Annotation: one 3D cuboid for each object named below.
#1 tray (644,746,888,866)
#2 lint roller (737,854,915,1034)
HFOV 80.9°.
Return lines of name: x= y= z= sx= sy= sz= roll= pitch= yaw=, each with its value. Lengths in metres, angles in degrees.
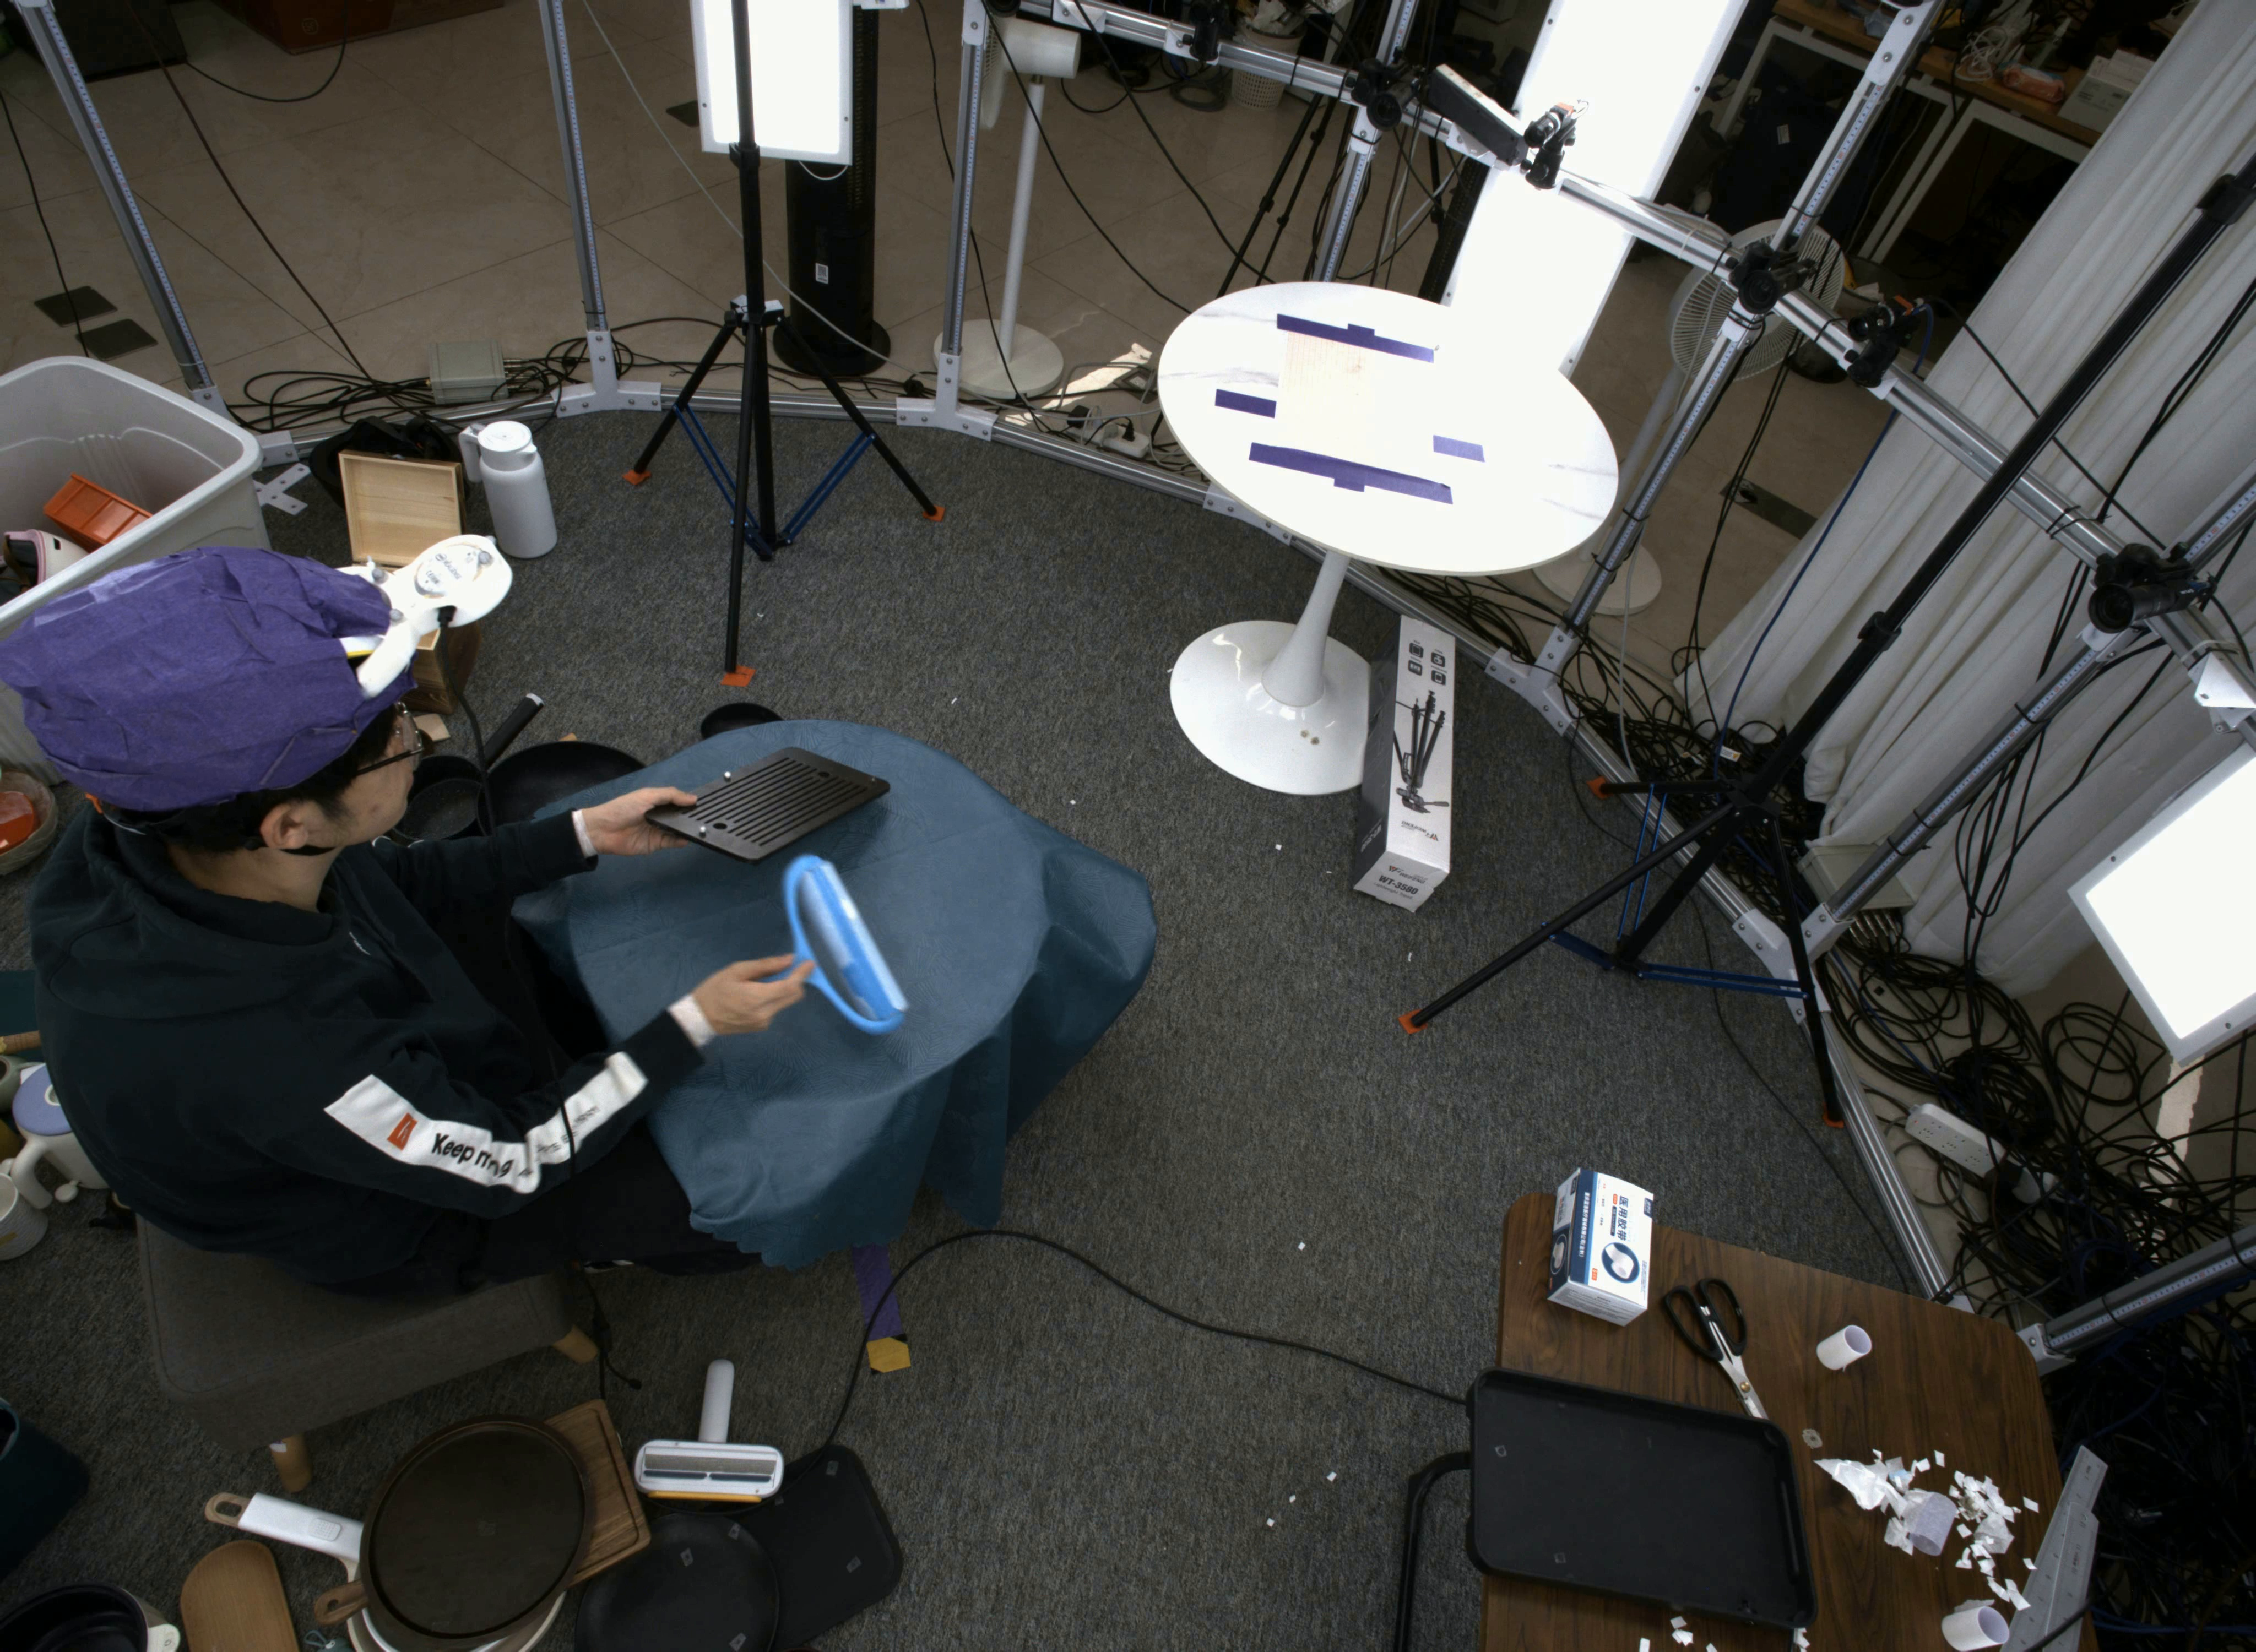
tray: x=-0.454 y=-0.031 z=1.647 sx=0.166 sy=0.019 sz=0.306 roll=22 pitch=26 yaw=15
lint roller: x=-0.366 y=0.165 z=1.499 sx=0.180 sy=0.067 sz=0.232 roll=-33 pitch=97 yaw=-21
